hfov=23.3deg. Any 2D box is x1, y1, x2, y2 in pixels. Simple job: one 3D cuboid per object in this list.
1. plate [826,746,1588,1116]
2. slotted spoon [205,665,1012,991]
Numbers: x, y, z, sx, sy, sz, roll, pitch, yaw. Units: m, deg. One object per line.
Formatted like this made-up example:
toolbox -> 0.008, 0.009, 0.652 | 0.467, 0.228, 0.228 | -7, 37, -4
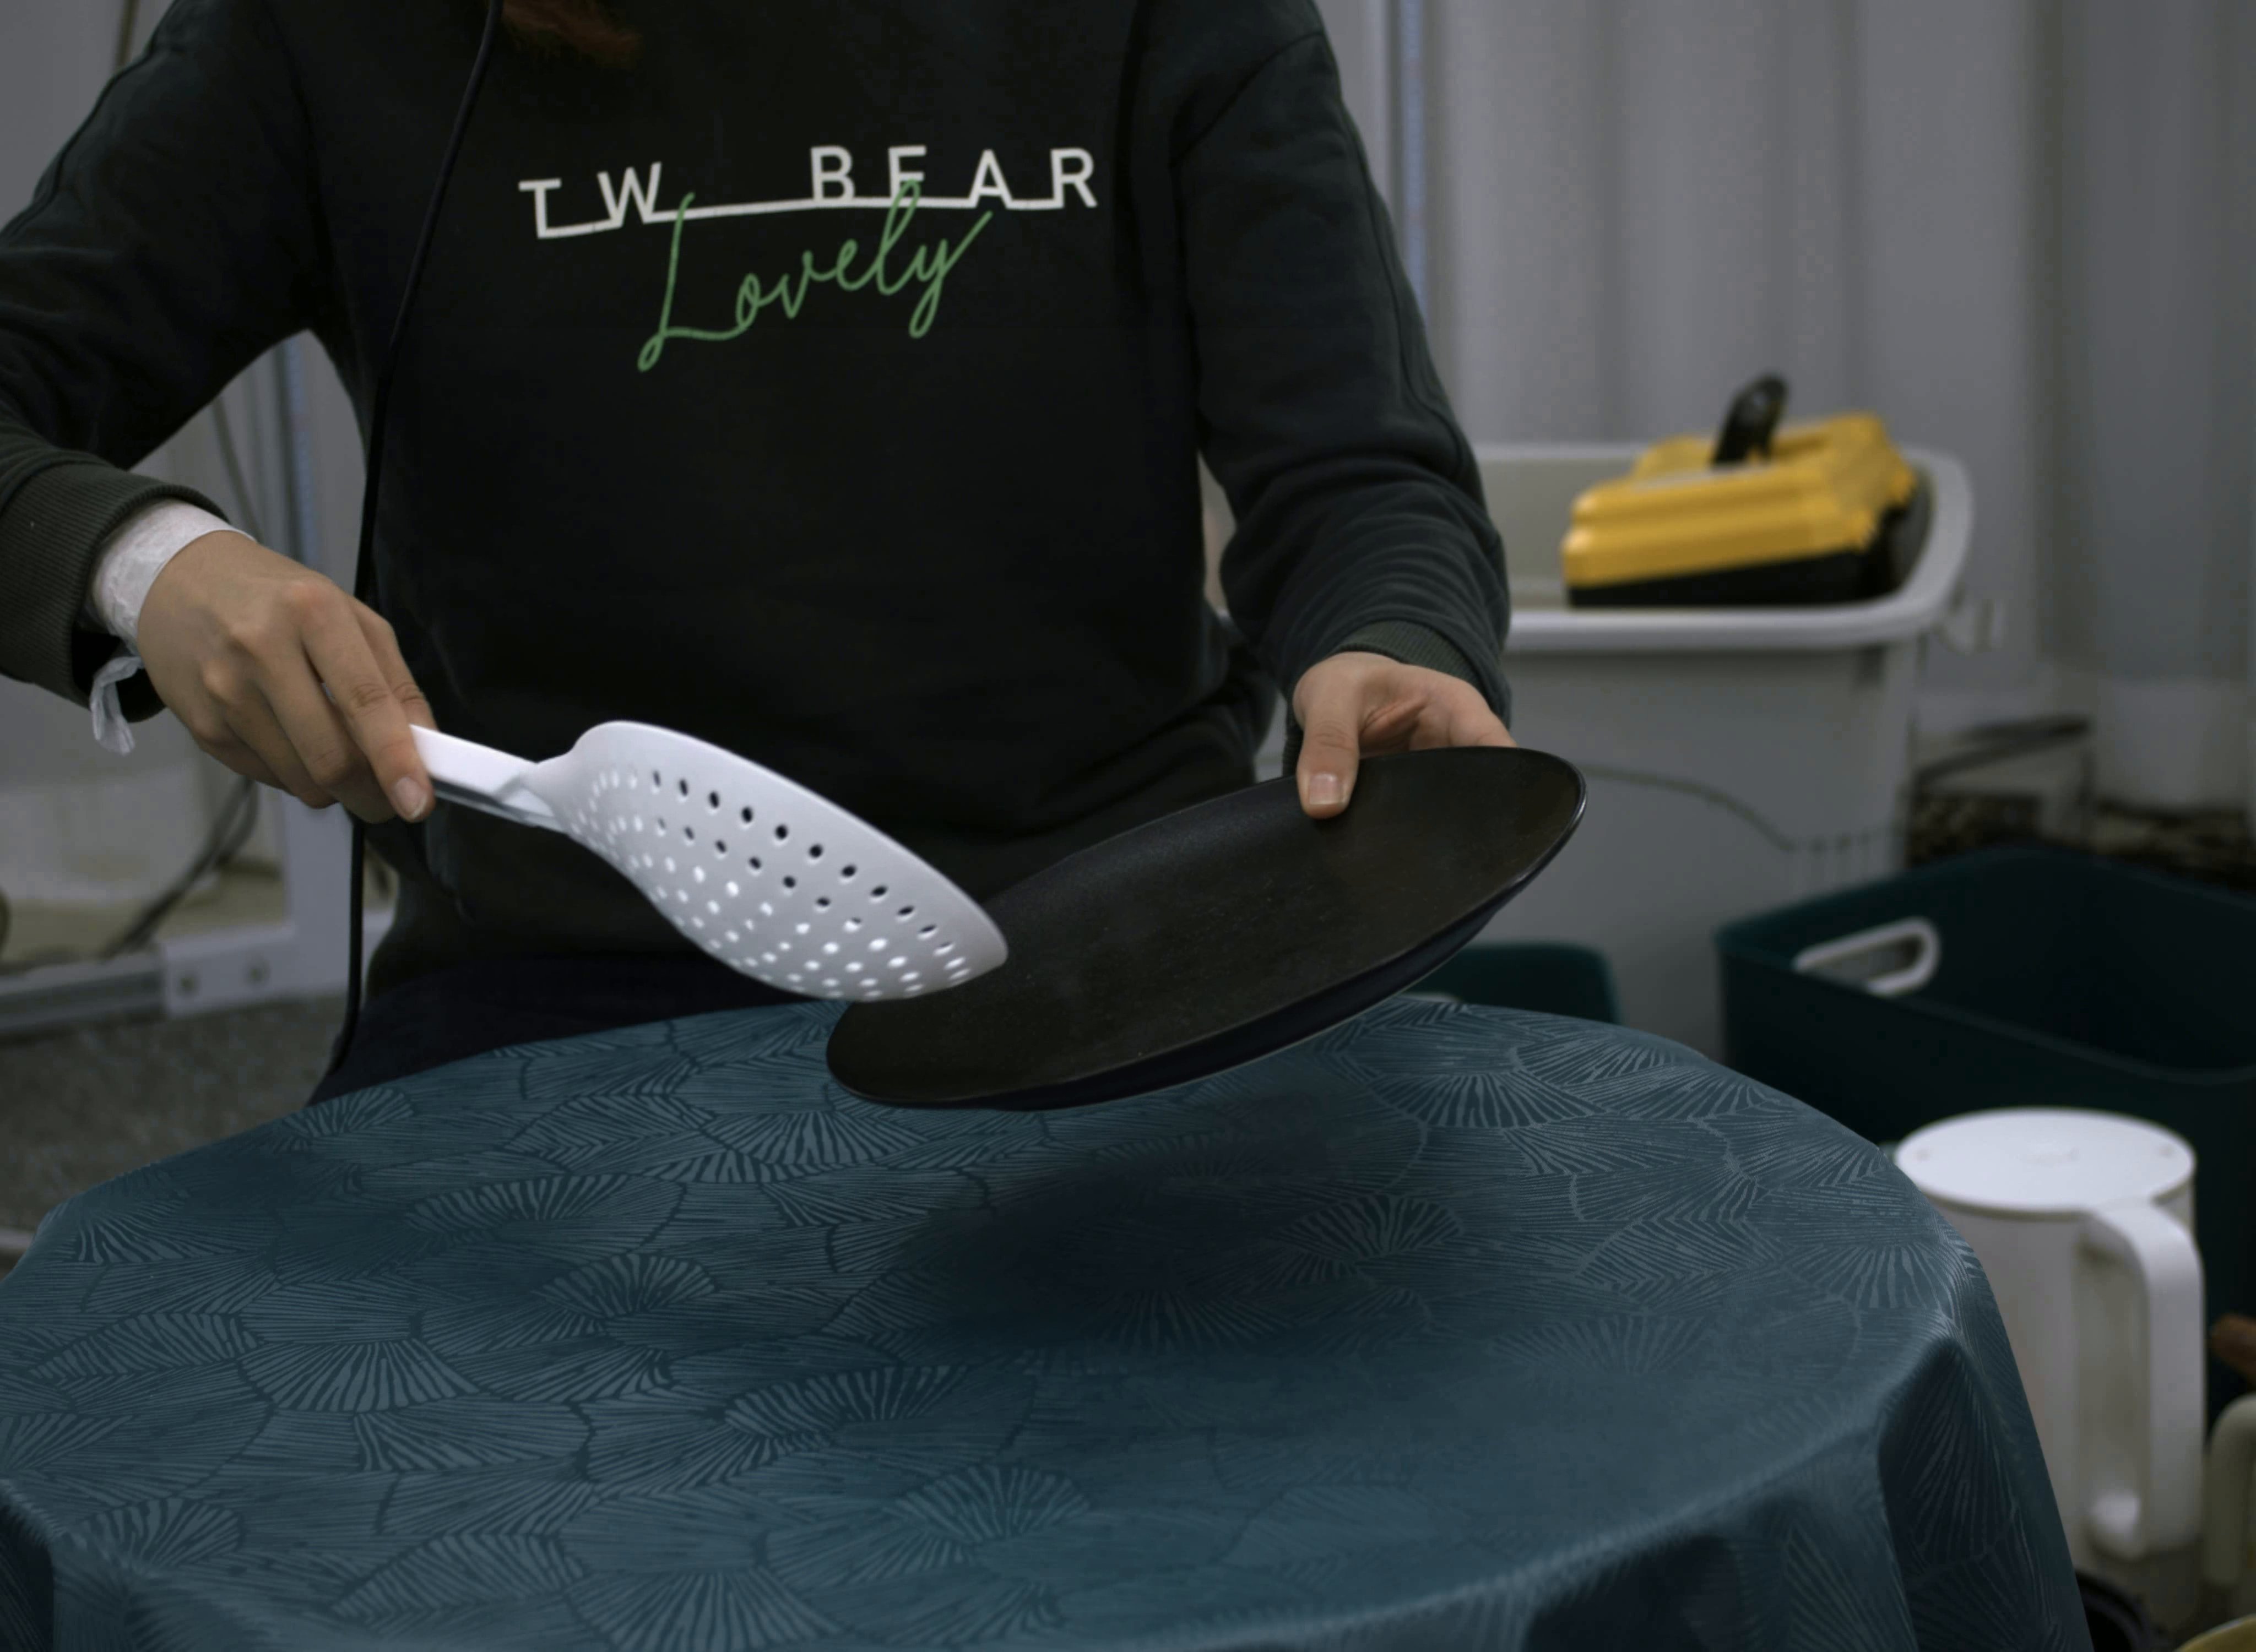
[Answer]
plate -> 0.026, 0.036, 1.645 | 0.244, 0.023, 0.246 | -20, 15, 5
slotted spoon -> -0.171, -0.011, 1.659 | 0.352, 0.046, 0.134 | 21, -17, 46
